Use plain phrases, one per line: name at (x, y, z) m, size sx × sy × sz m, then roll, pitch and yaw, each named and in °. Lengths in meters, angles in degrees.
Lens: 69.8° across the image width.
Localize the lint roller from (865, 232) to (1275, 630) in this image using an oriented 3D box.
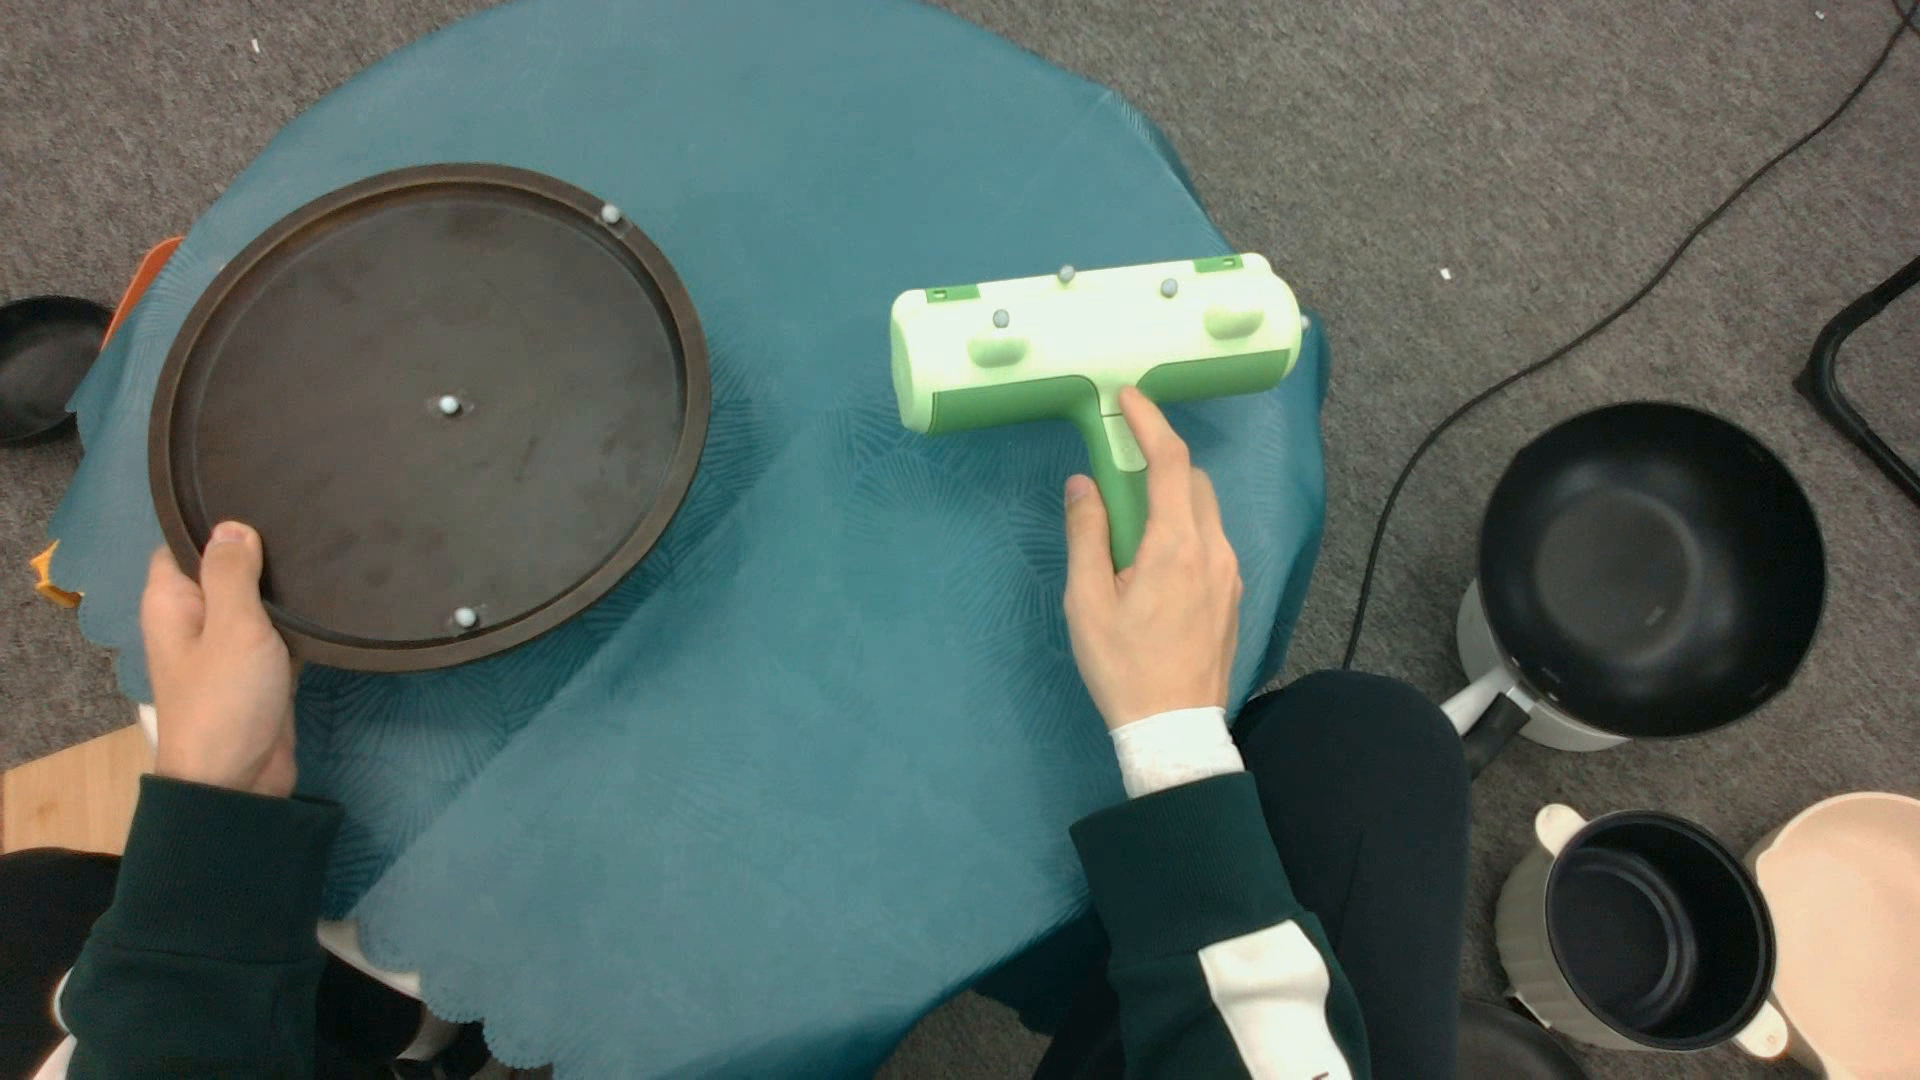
lint roller at (0.070, -0.054, 0.637) m, size 0.199 × 0.082 × 0.184 m, roll -10°, pitch 70°, yaw -15°

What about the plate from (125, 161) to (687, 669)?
plate at (-0.252, -0.062, 0.636) m, size 0.255 × 0.029 × 0.255 m, roll 1°, pitch 69°, yaw -2°
